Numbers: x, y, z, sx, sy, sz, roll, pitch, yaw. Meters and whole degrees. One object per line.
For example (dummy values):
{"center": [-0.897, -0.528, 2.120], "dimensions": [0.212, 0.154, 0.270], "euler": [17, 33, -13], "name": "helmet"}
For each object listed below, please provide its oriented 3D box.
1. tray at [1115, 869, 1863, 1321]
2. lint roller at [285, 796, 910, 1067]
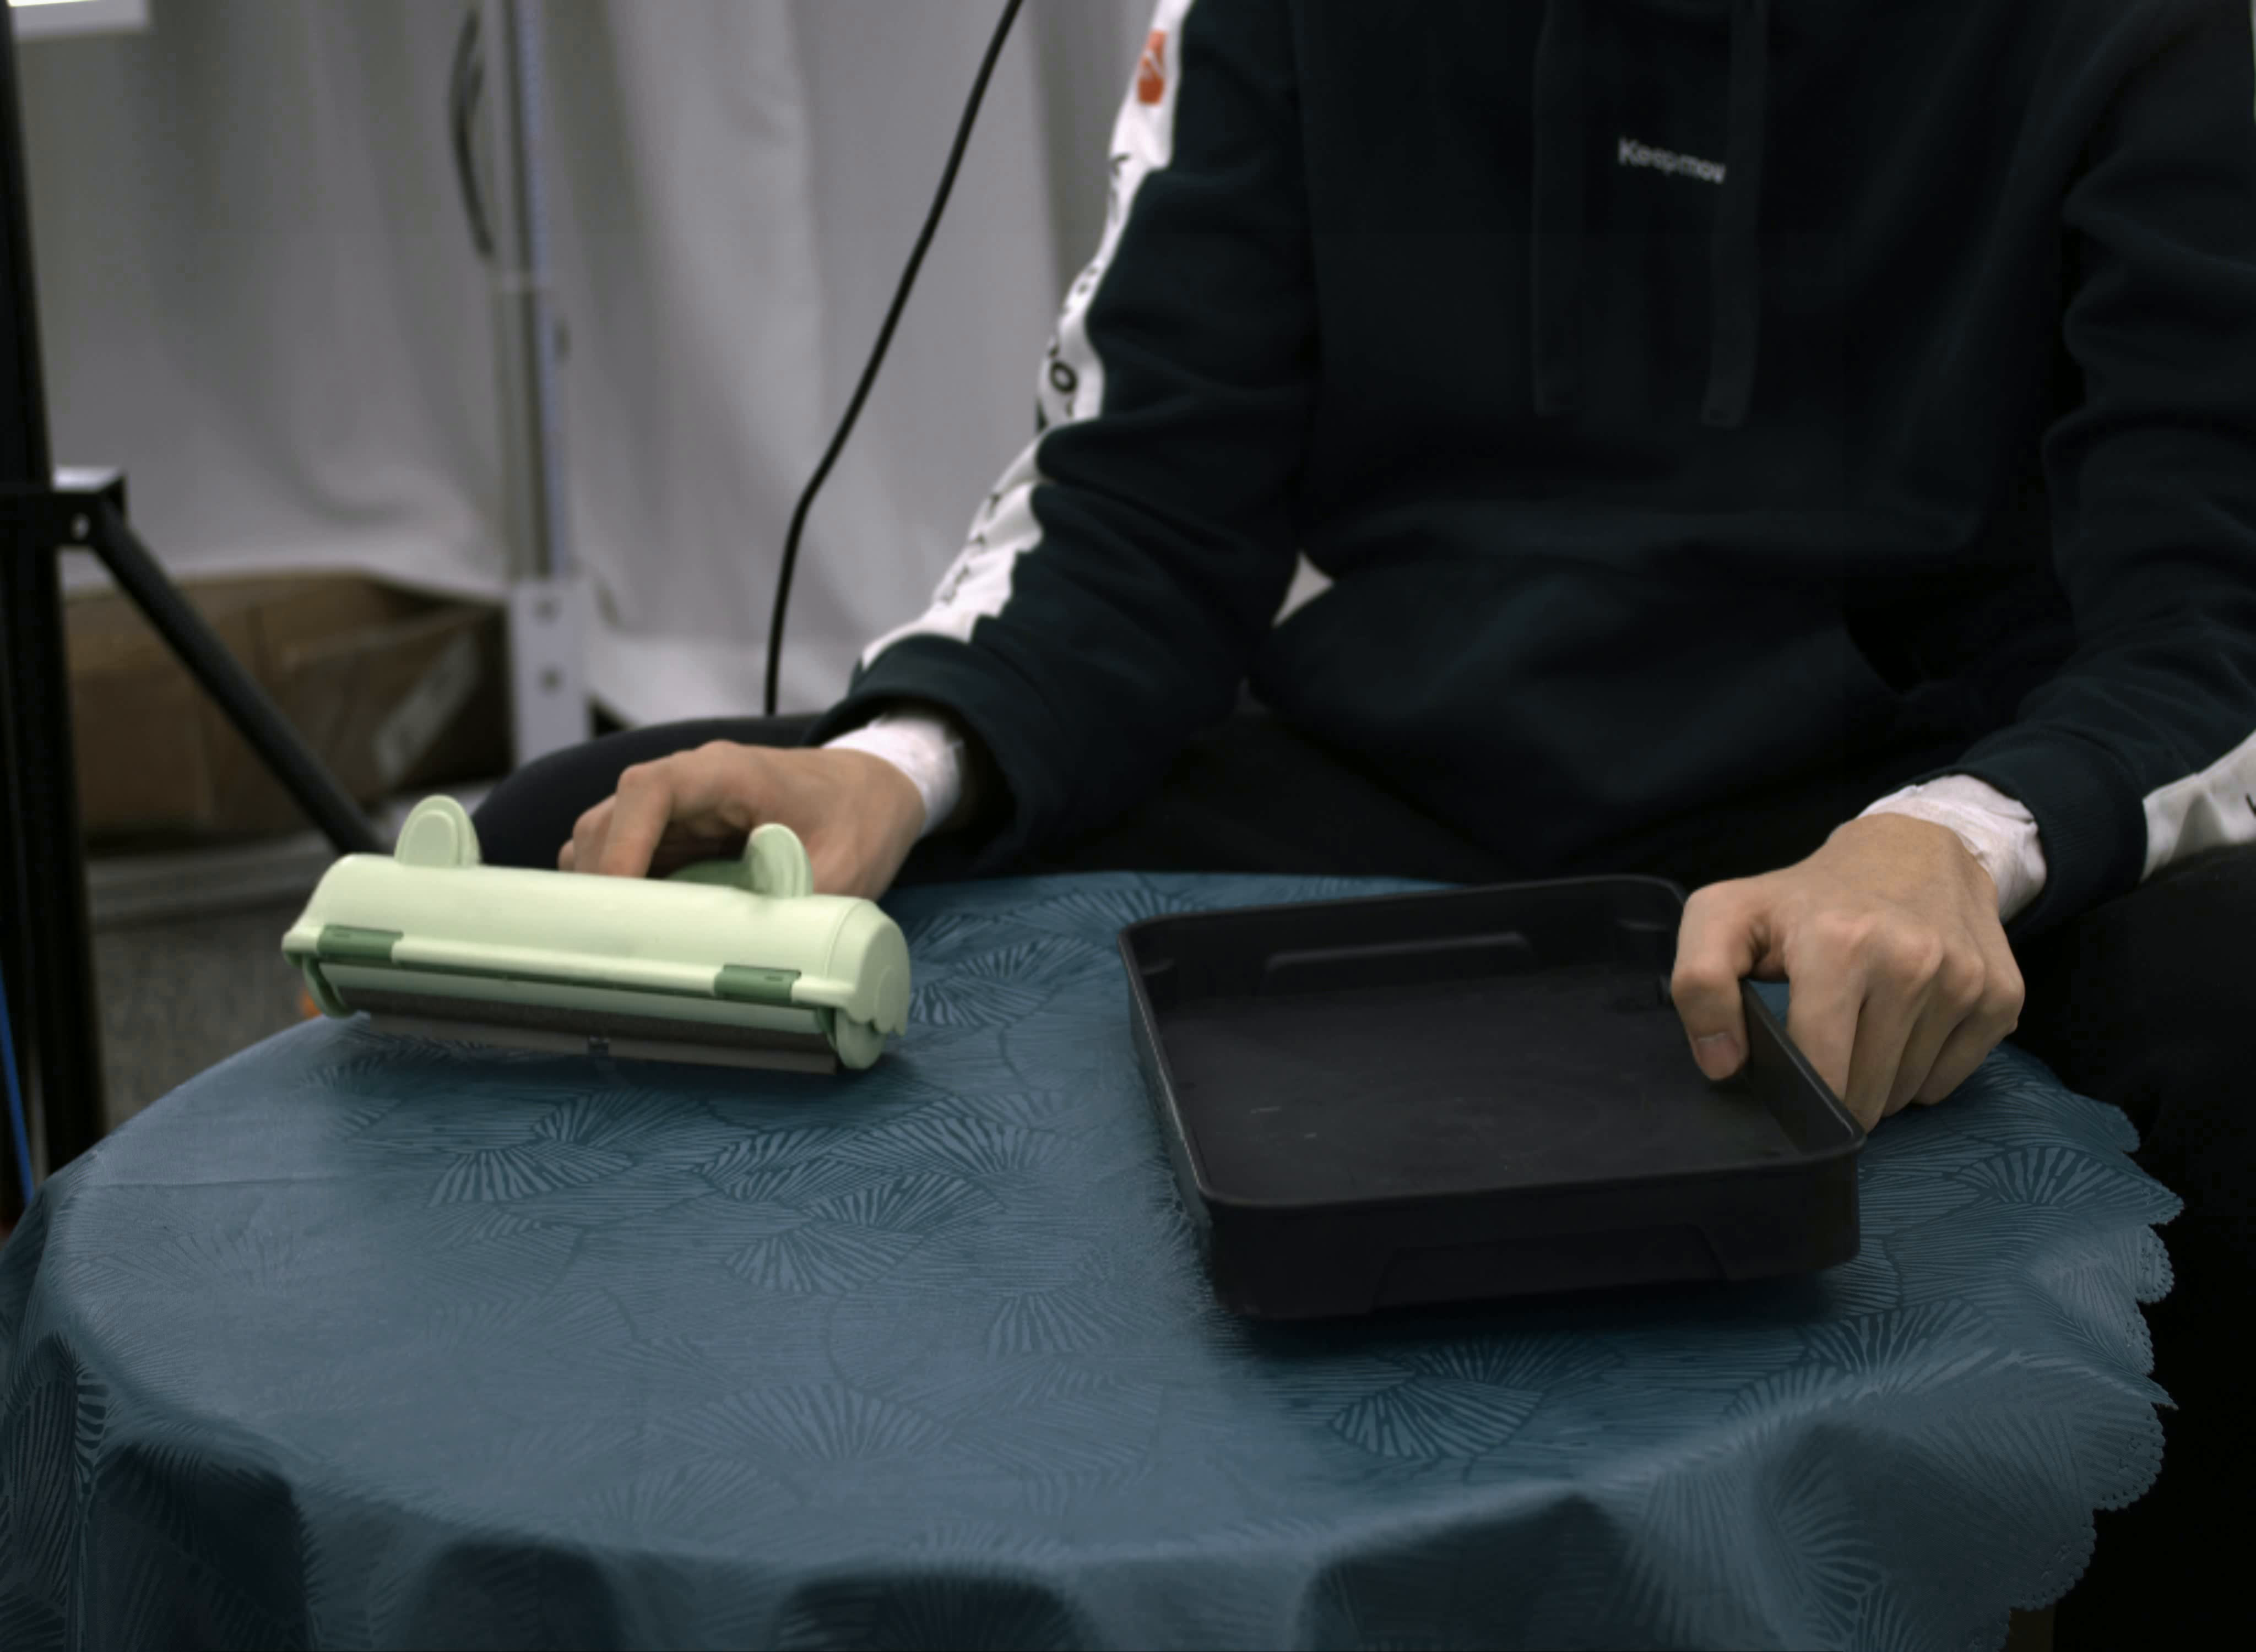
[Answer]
{"center": [0.099, 0.074, 1.564], "dimensions": [0.183, 0.037, 0.320], "euler": [-5, 14, -3], "name": "tray"}
{"center": [-0.151, 0.019, 1.747], "dimensions": [0.201, 0.082, 0.181], "euler": [4, 20, 20], "name": "lint roller"}
